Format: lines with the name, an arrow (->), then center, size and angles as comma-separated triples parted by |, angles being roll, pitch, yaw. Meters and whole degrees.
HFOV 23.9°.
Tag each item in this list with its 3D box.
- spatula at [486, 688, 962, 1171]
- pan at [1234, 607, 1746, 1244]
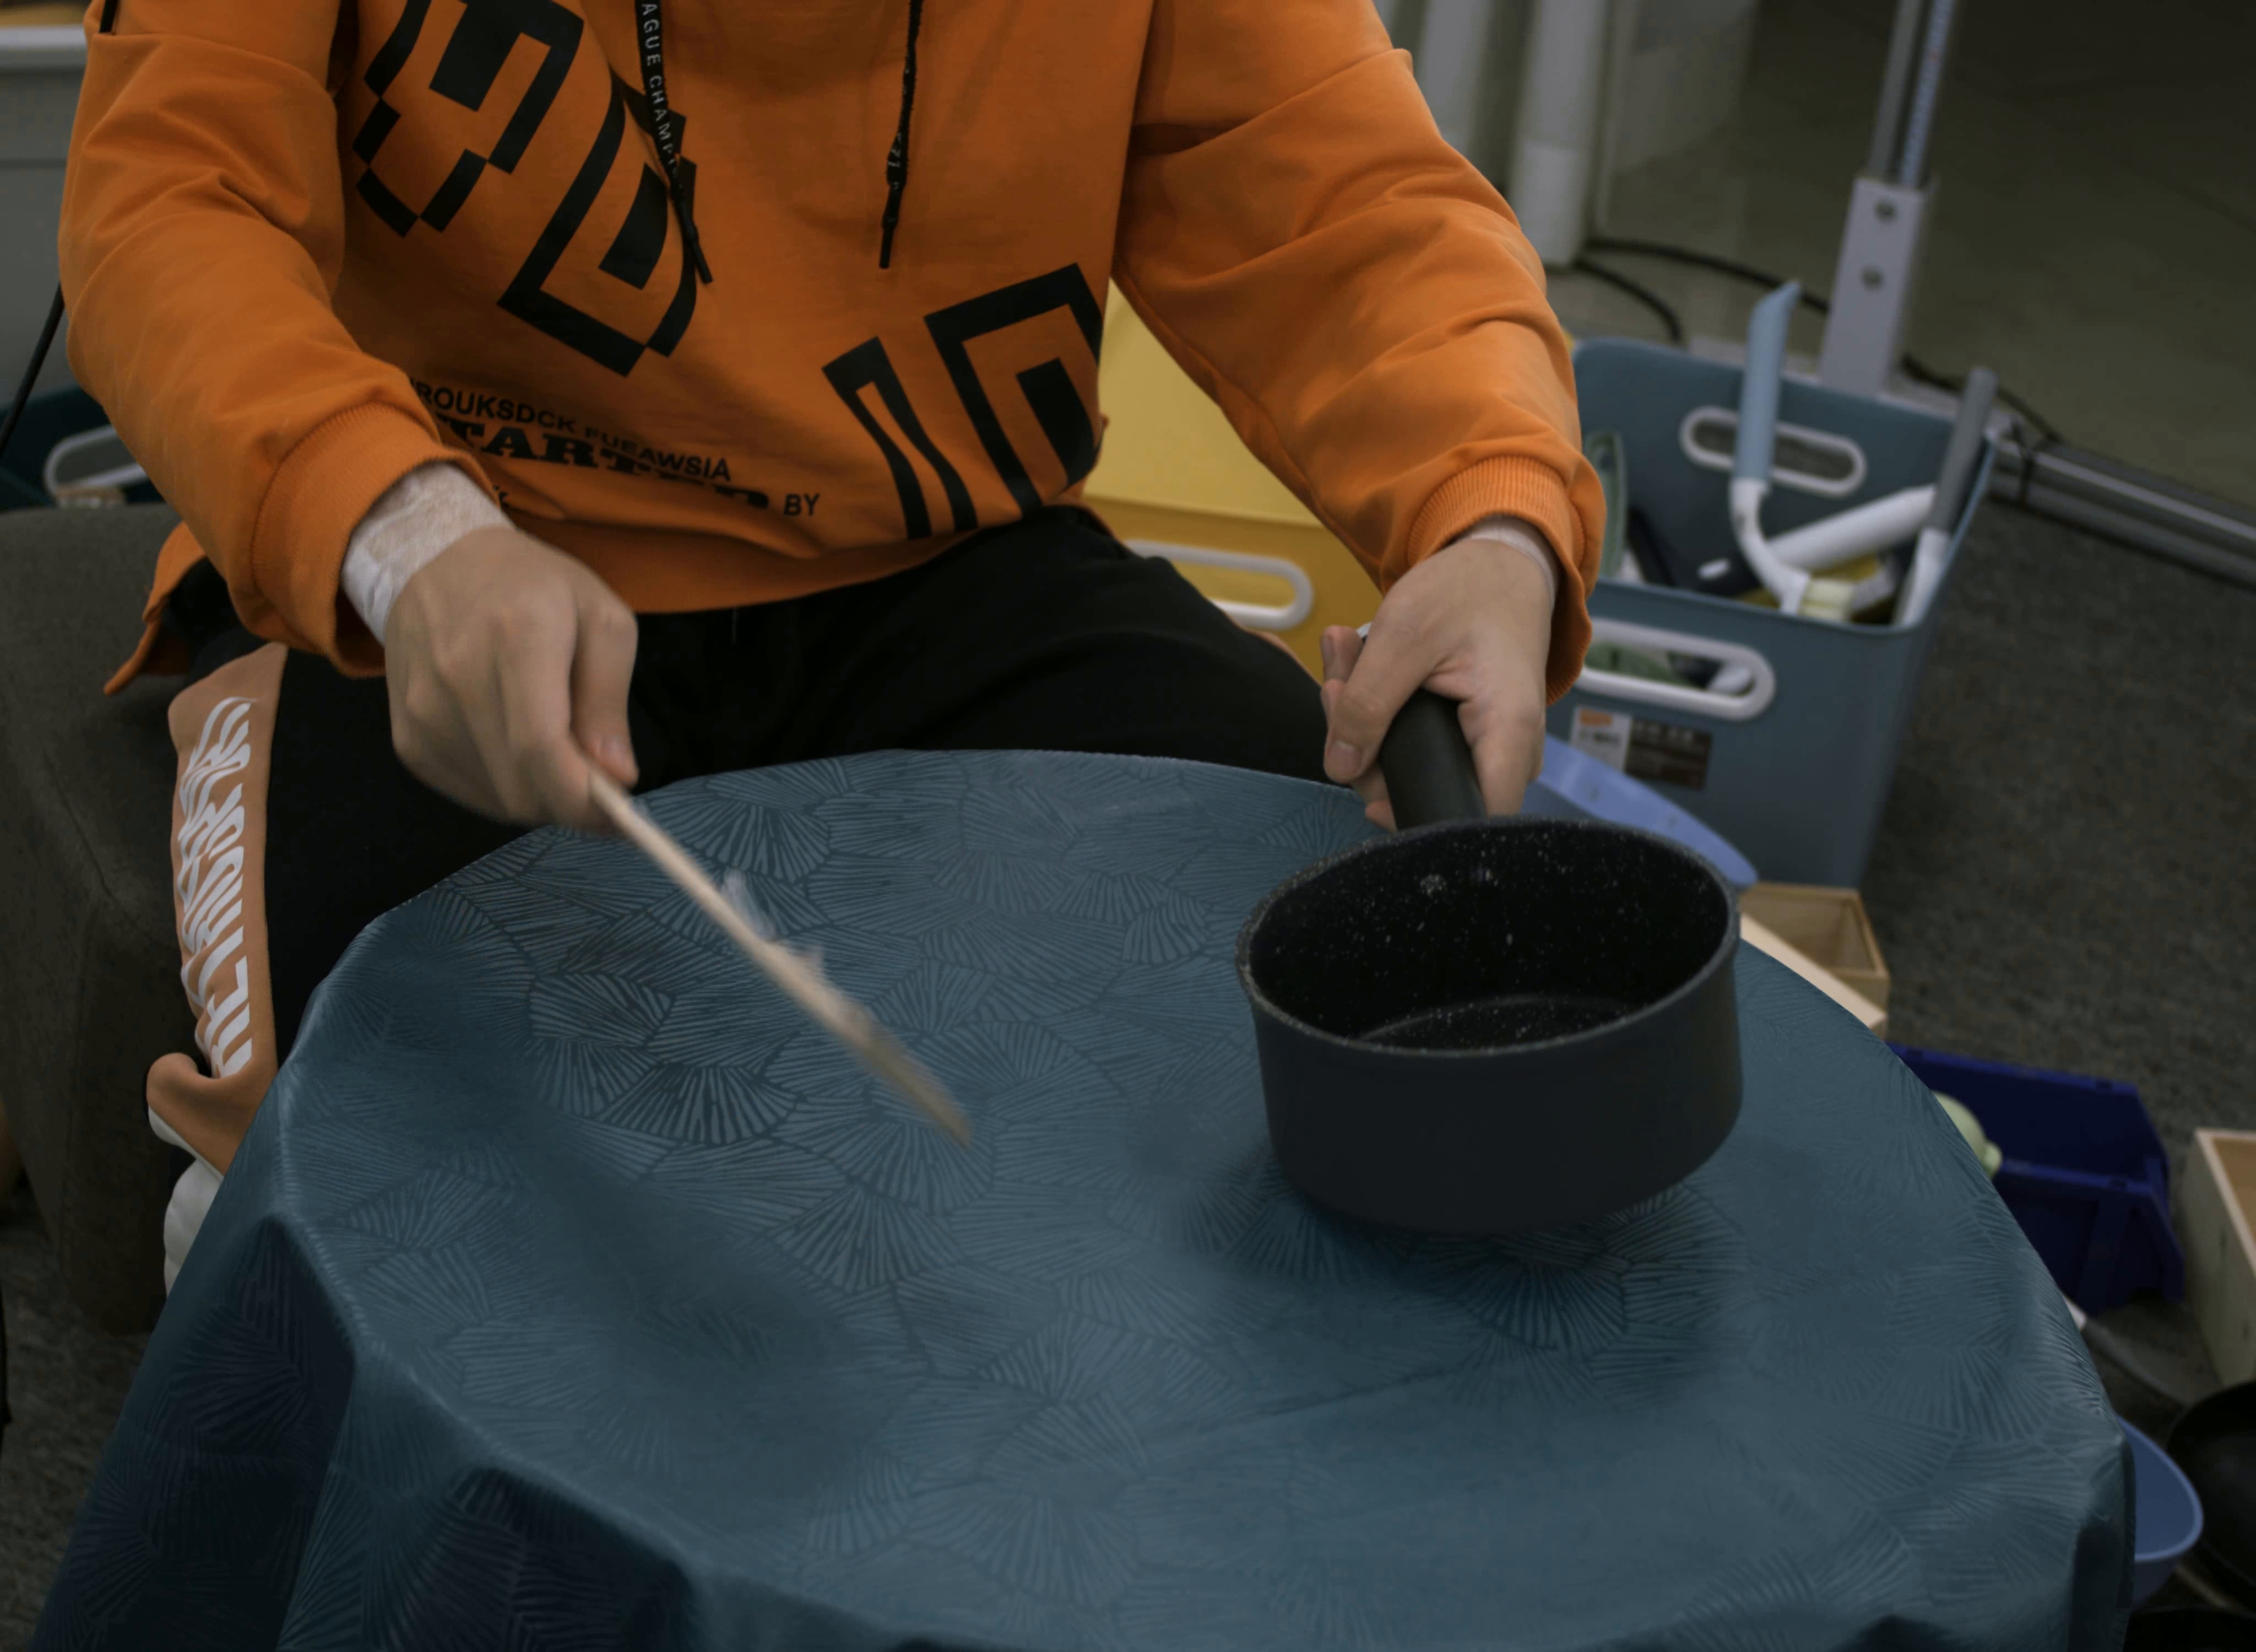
spatula -> -0.145, 0.025, 1.759 | 0.071, 0.010, 0.296 | 45, -2, -44
pan -> 0.121, 0.031, 1.874 | 0.171, 0.086, 0.331 | -6, 28, 1
